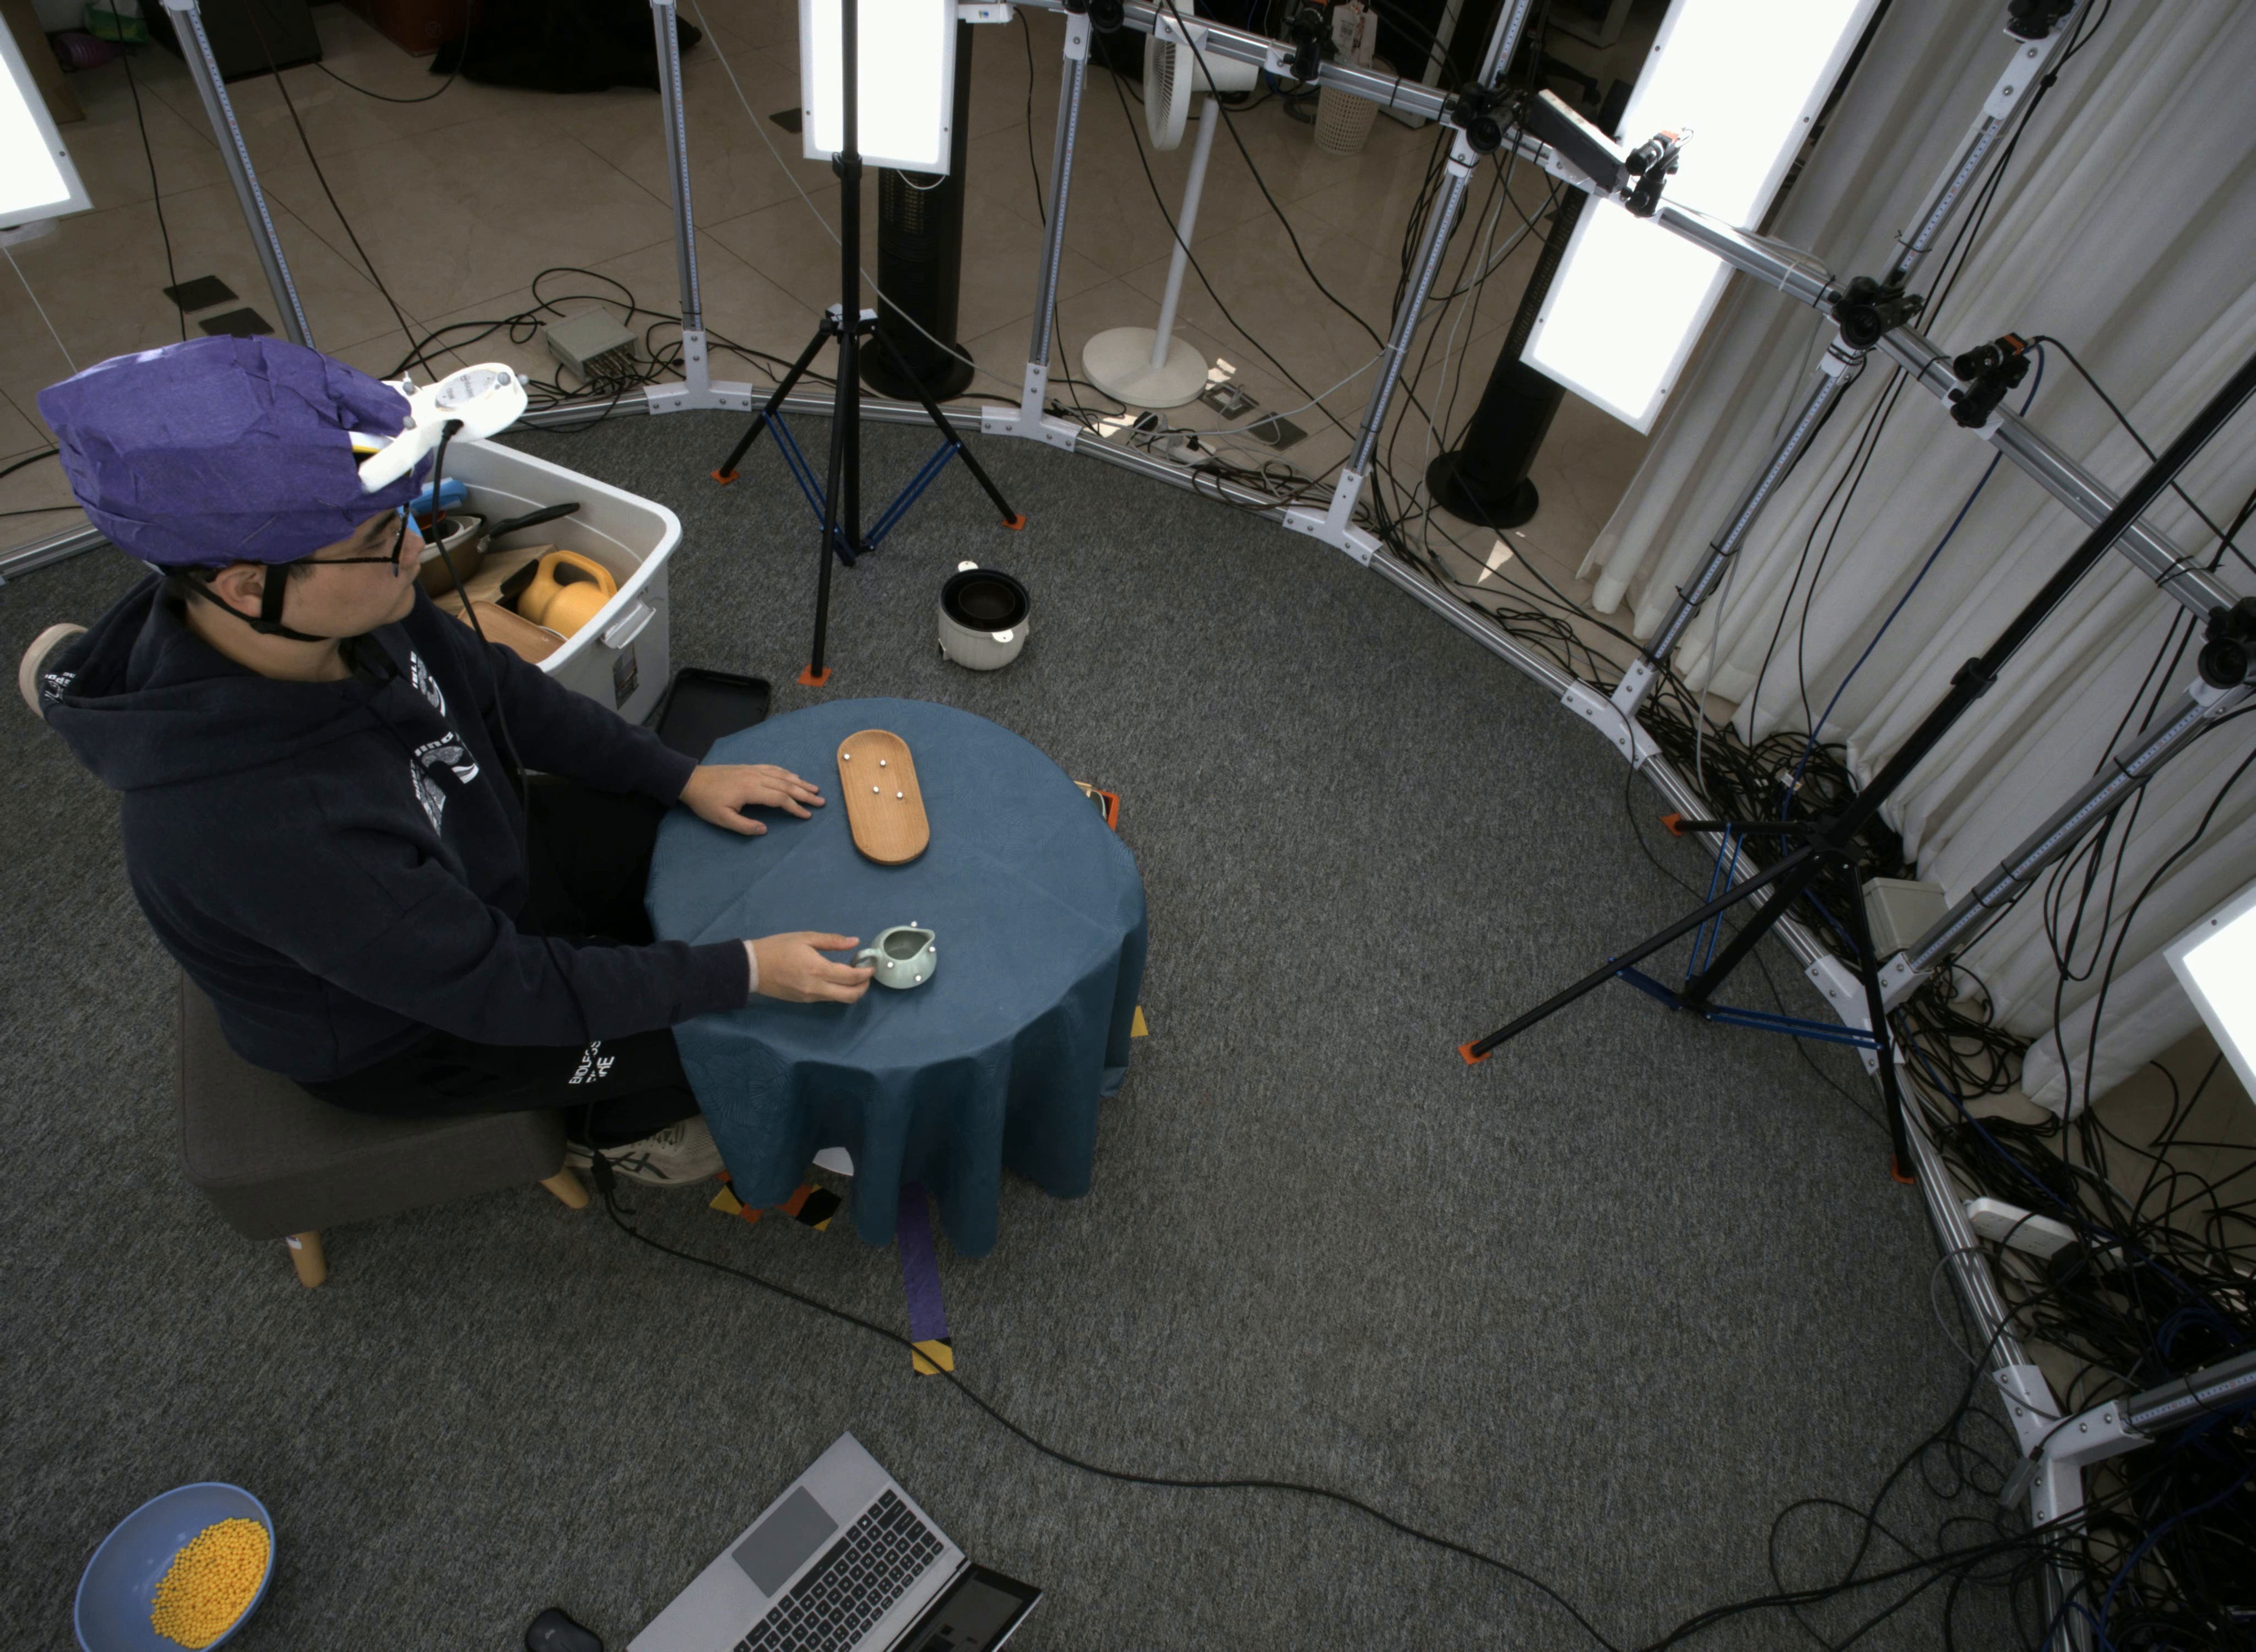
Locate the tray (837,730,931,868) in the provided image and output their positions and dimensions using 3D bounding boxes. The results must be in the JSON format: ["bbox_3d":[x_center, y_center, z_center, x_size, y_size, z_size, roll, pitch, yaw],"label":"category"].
[{"bbox_3d":[-0.332,-0.039,1.763,0.102,0.021,0.226,-9,59,-18],"label":"tray"}]

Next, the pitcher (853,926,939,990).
[{"bbox_3d":[-0.286,0.160,1.599,0.108,0.062,0.084,-19,58,-23],"label":"pitcher"}]
